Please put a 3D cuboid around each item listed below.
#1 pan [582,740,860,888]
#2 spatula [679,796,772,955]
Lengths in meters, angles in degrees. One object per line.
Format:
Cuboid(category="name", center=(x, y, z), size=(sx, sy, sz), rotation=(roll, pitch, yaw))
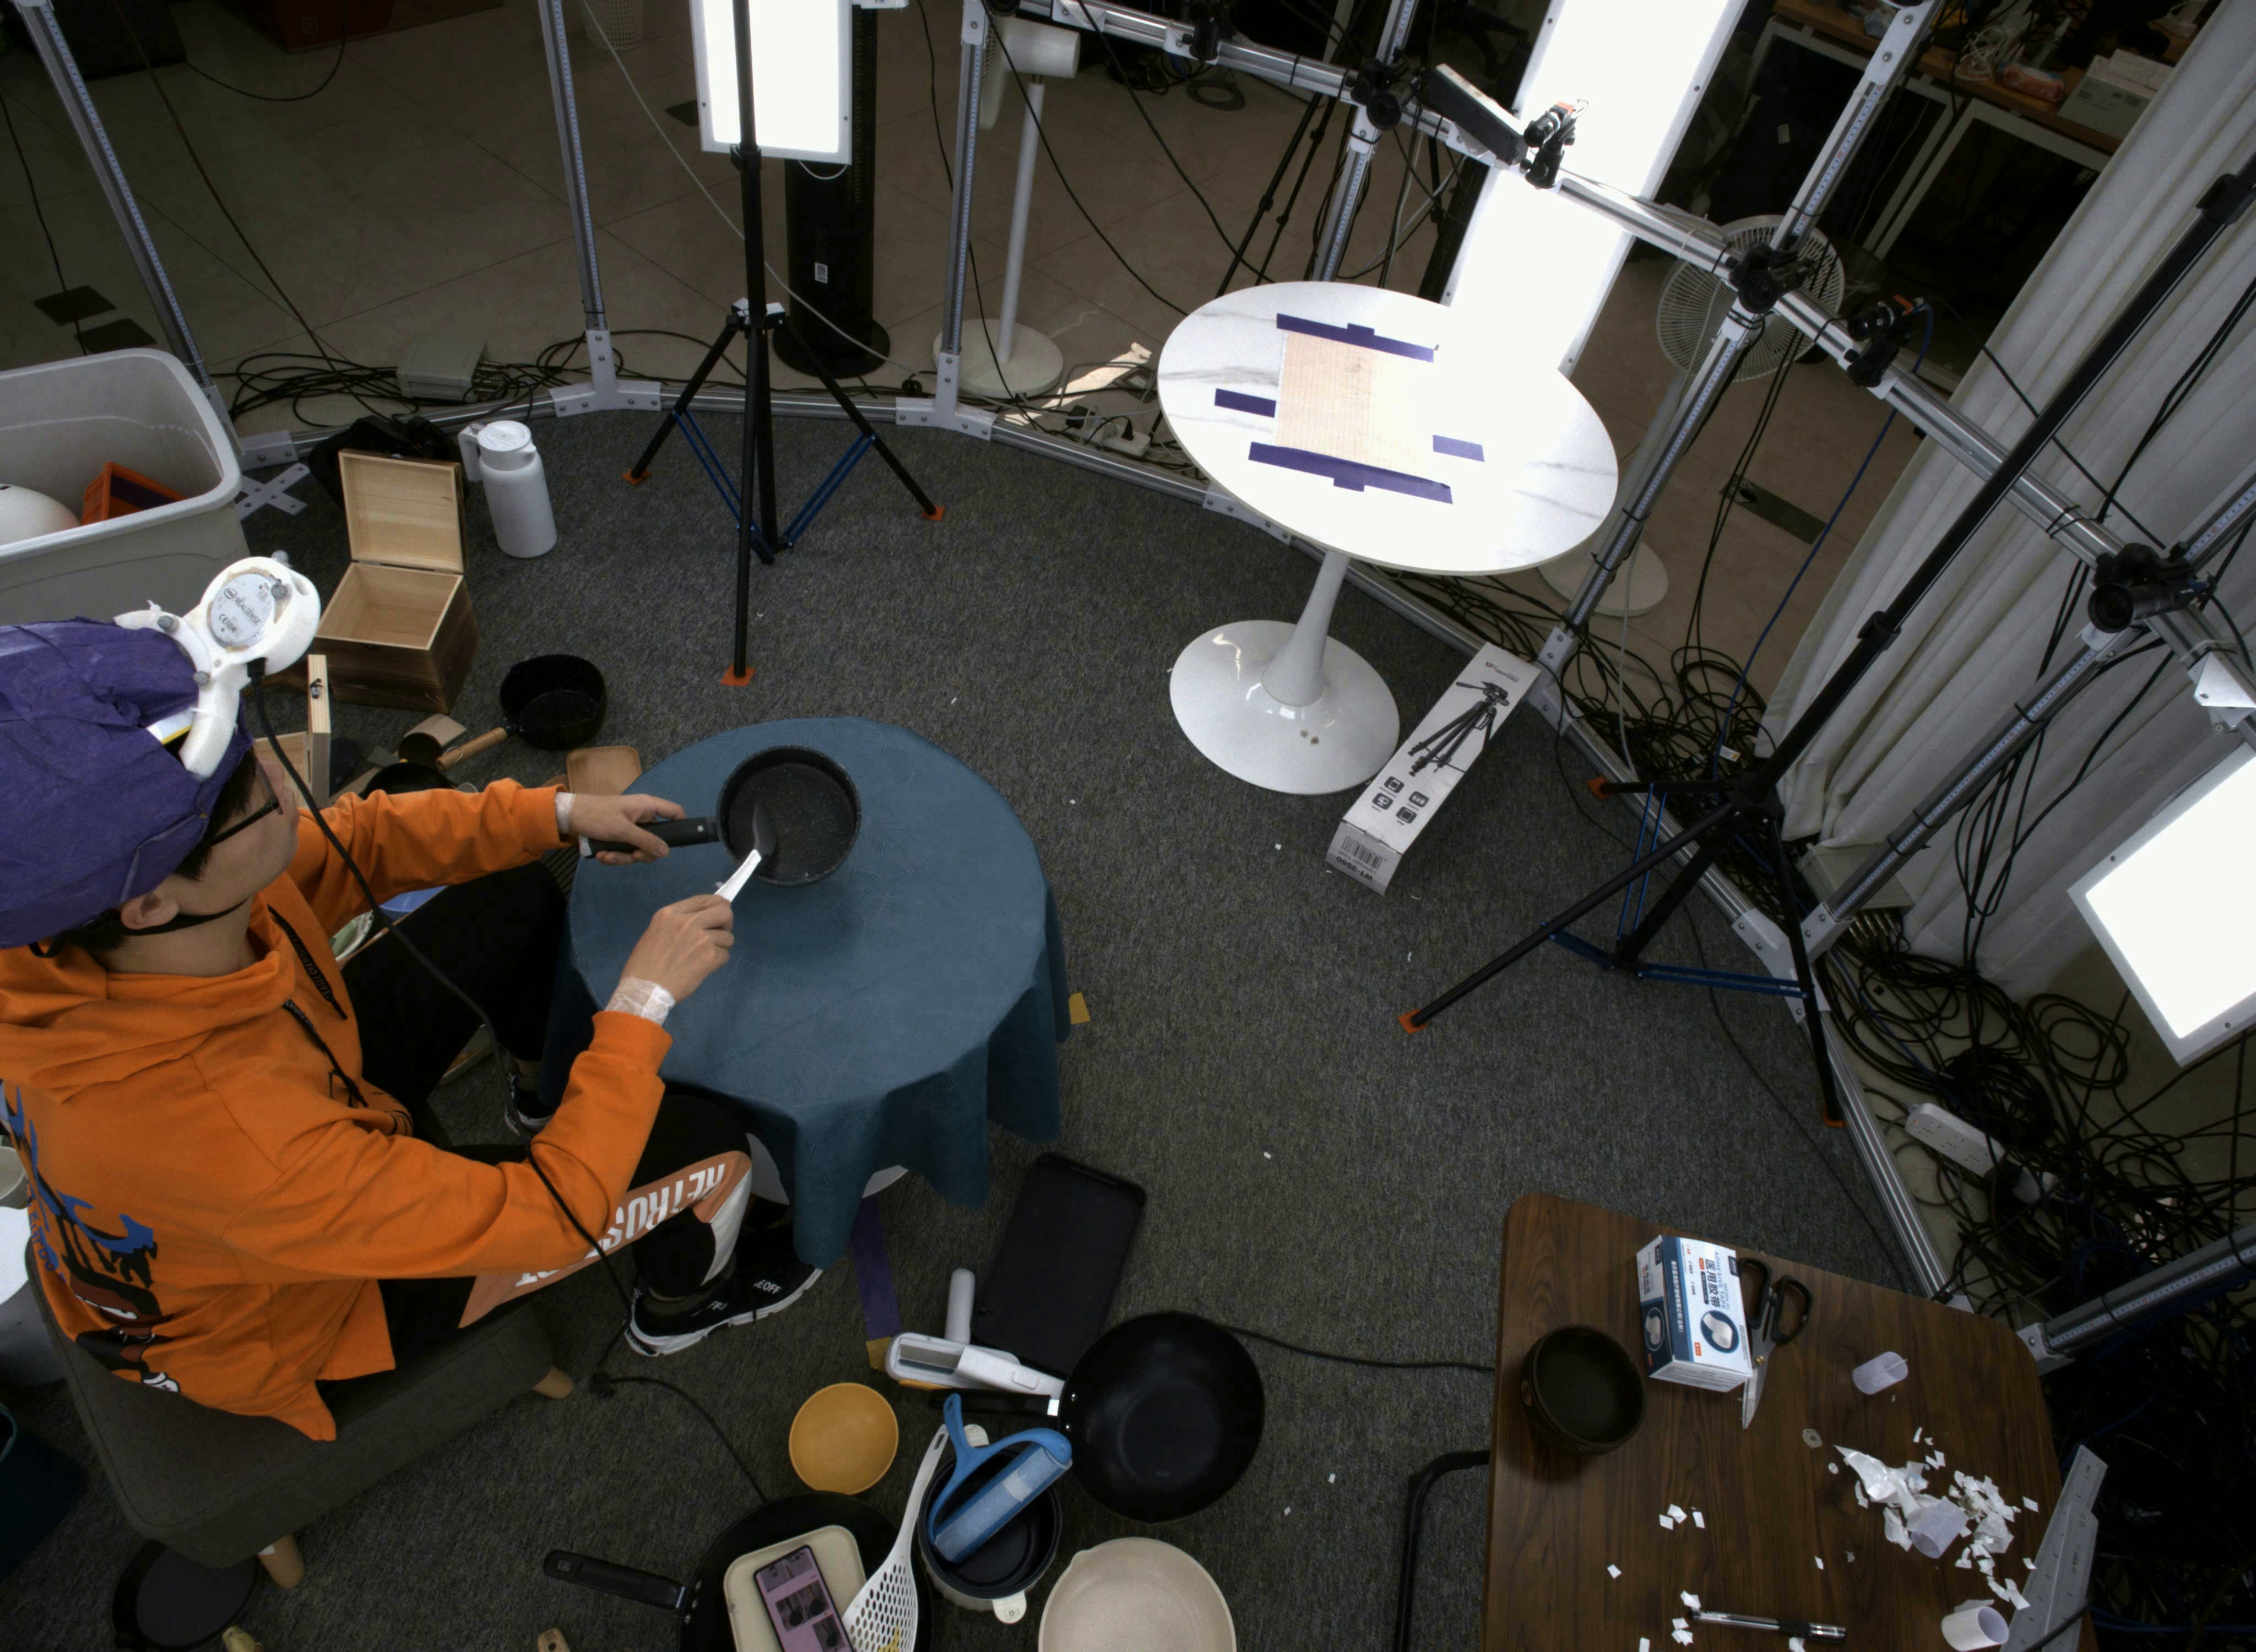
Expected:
Cuboid(category="pan", center=(-0.489, -0.002, 1.554), size=(0.329, 0.086, 0.172), rotation=(-6, 82, -16))
Cuboid(category="spatula", center=(-0.450, 0.050, 1.475), size=(0.032, 0.061, 0.282), rotation=(-23, 27, 15))
